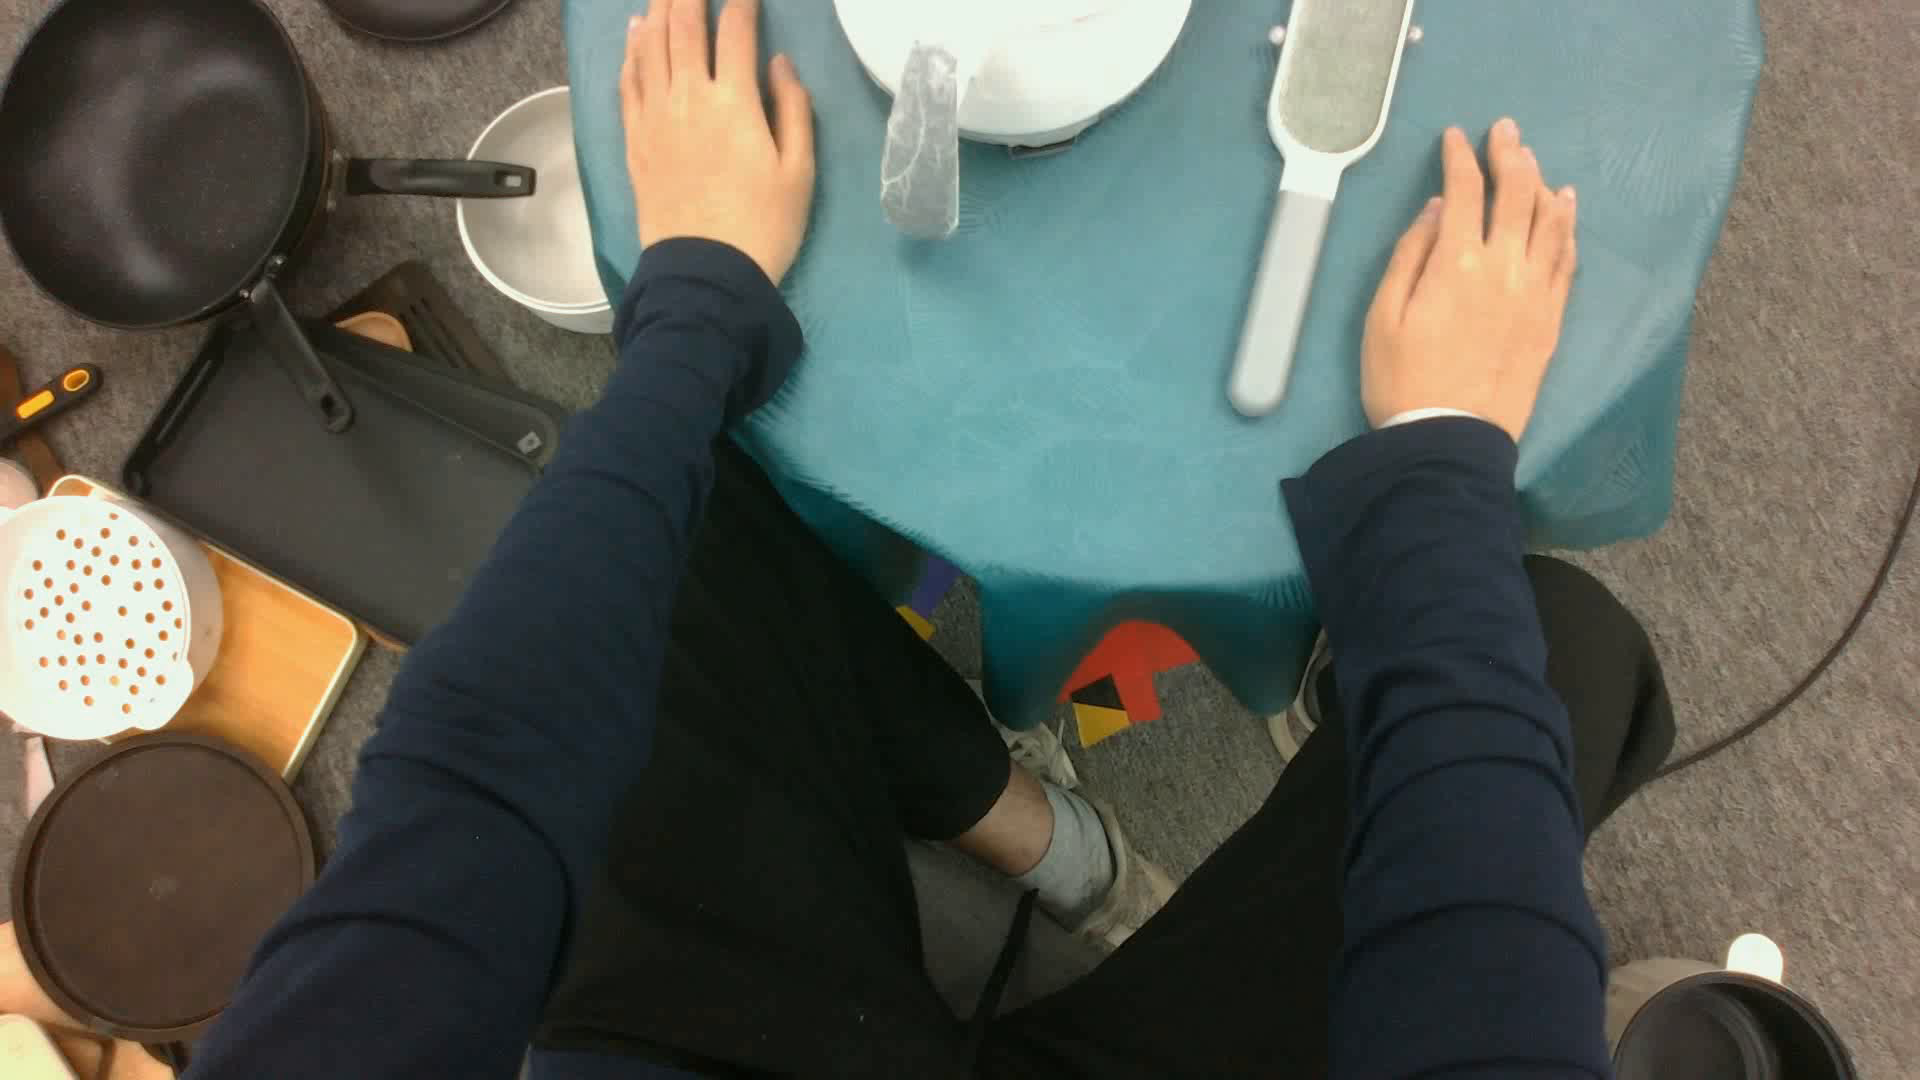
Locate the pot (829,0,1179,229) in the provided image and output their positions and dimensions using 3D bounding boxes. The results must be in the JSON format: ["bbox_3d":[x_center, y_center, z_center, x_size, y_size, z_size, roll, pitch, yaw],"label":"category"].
[{"bbox_3d":[0.011,-0.264,0.628,0.178,0.136,0.234,18,82,5],"label":"pot"}]

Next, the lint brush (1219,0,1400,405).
[{"bbox_3d":[0.173,-0.213,0.677,0.060,0.021,0.309,16,82,-4],"label":"lint brush"}]
